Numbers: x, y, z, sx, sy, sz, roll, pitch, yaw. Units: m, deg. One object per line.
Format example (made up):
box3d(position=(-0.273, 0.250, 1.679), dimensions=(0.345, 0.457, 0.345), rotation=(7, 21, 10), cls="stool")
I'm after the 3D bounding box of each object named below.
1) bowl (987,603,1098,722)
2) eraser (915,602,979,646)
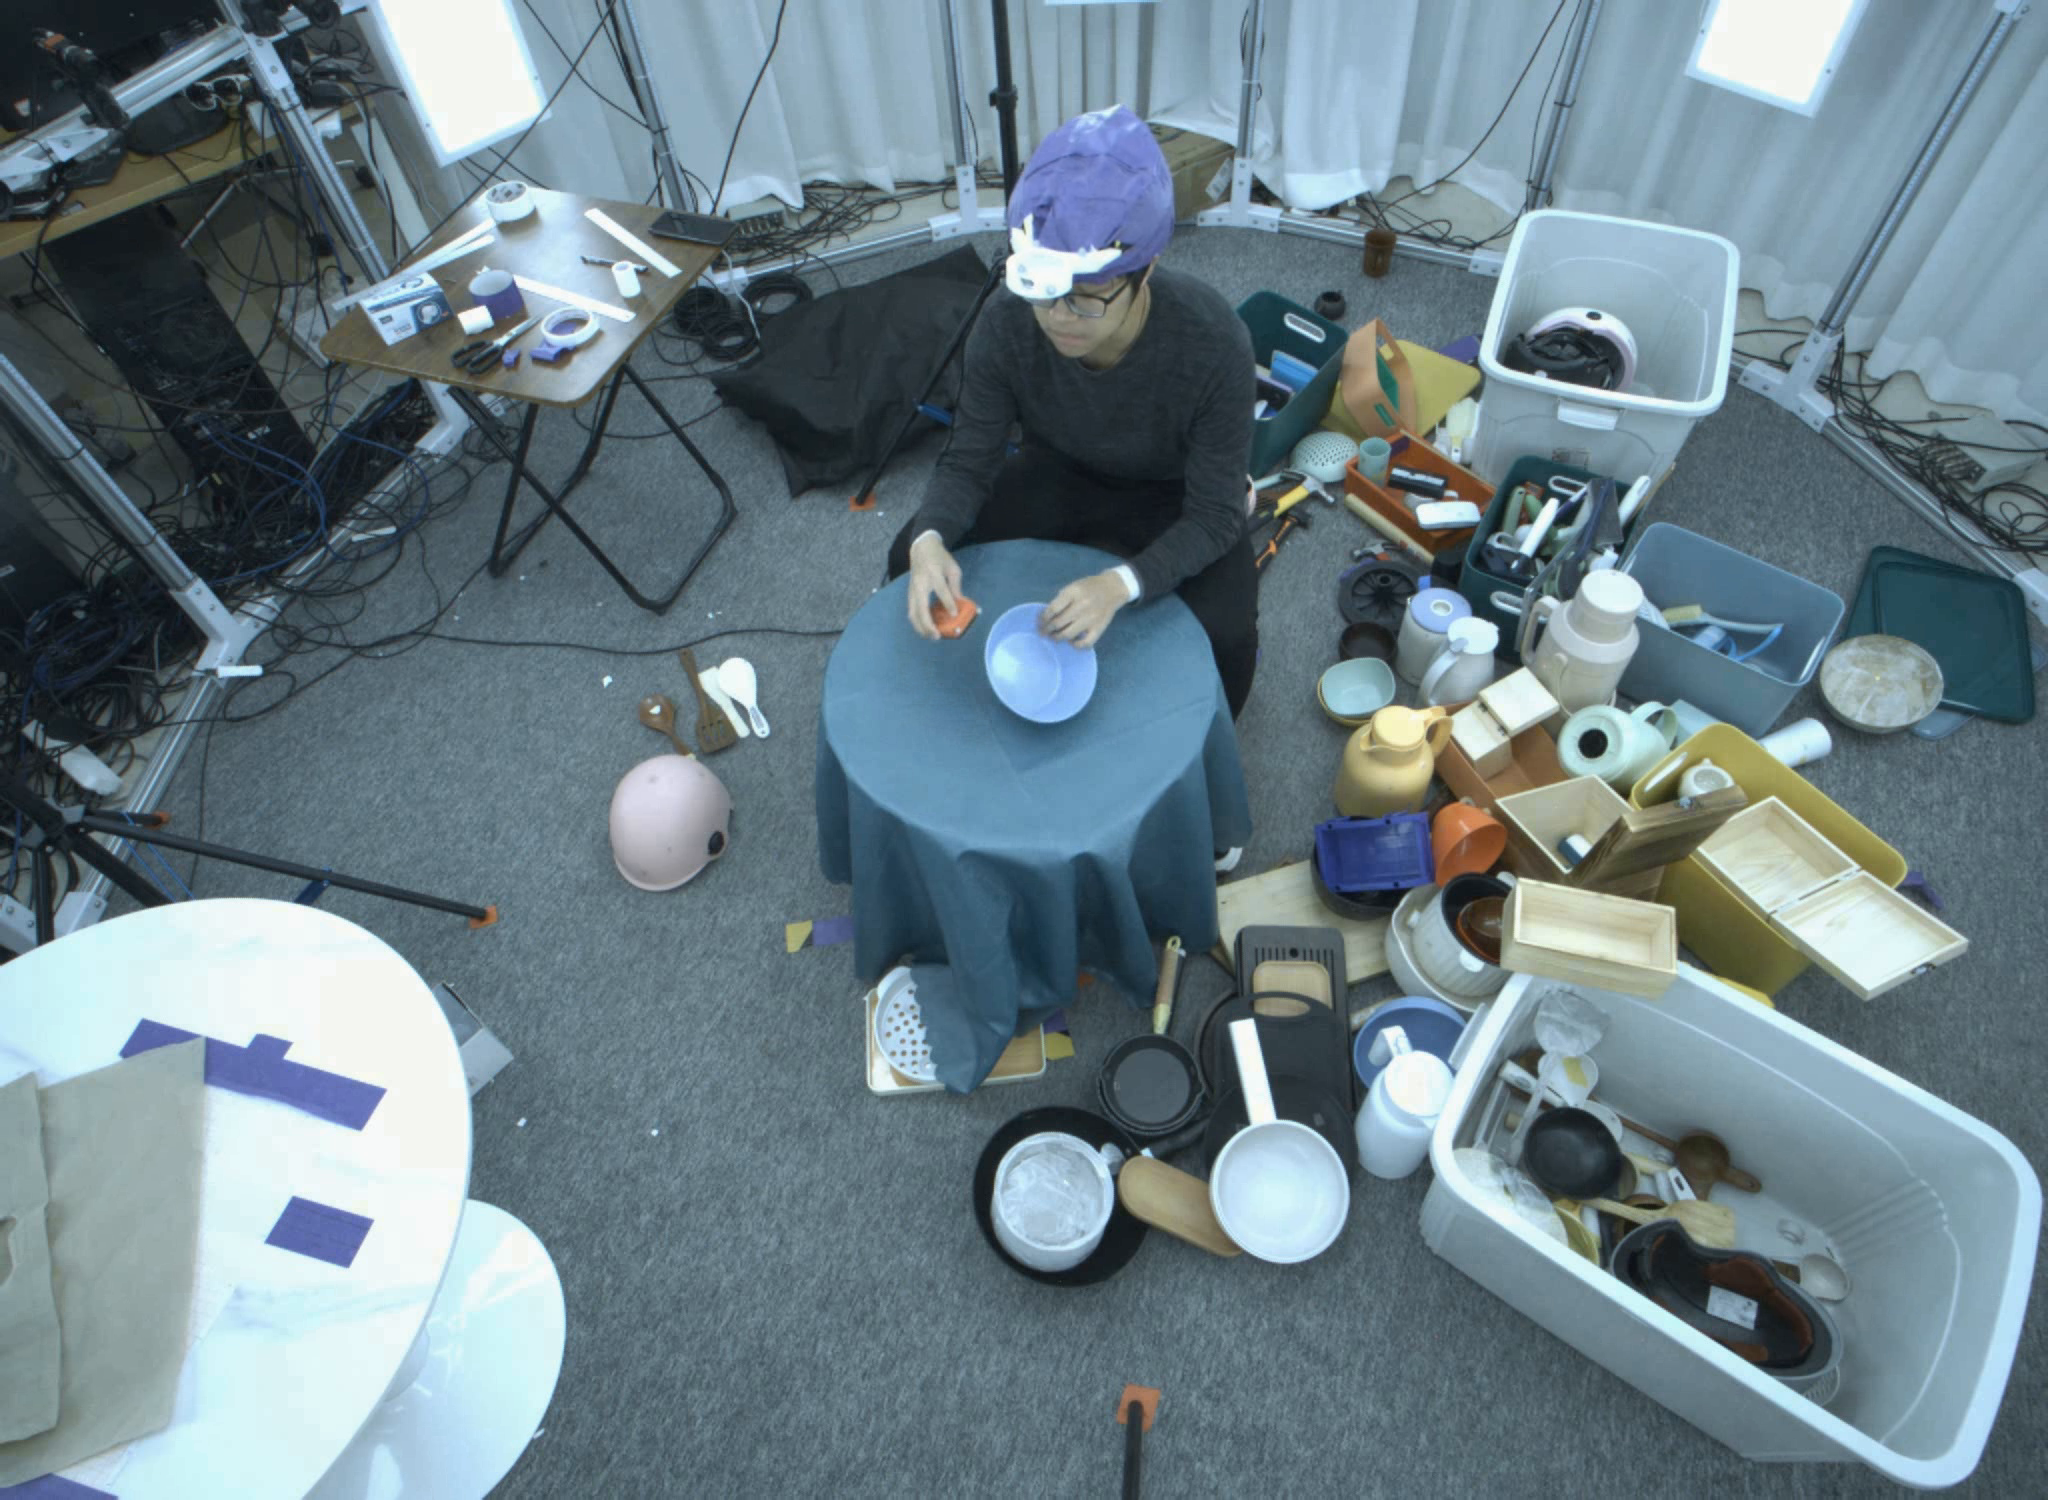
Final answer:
box3d(position=(0.015, -0.121, 1.790), dimensions=(0.179, 0.069, 0.175), rotation=(6, 78, -25), cls="bowl")
box3d(position=(-0.113, -0.184, 1.781), dimensions=(0.105, 0.023, 0.059), rotation=(17, 68, 55), cls="eraser")
